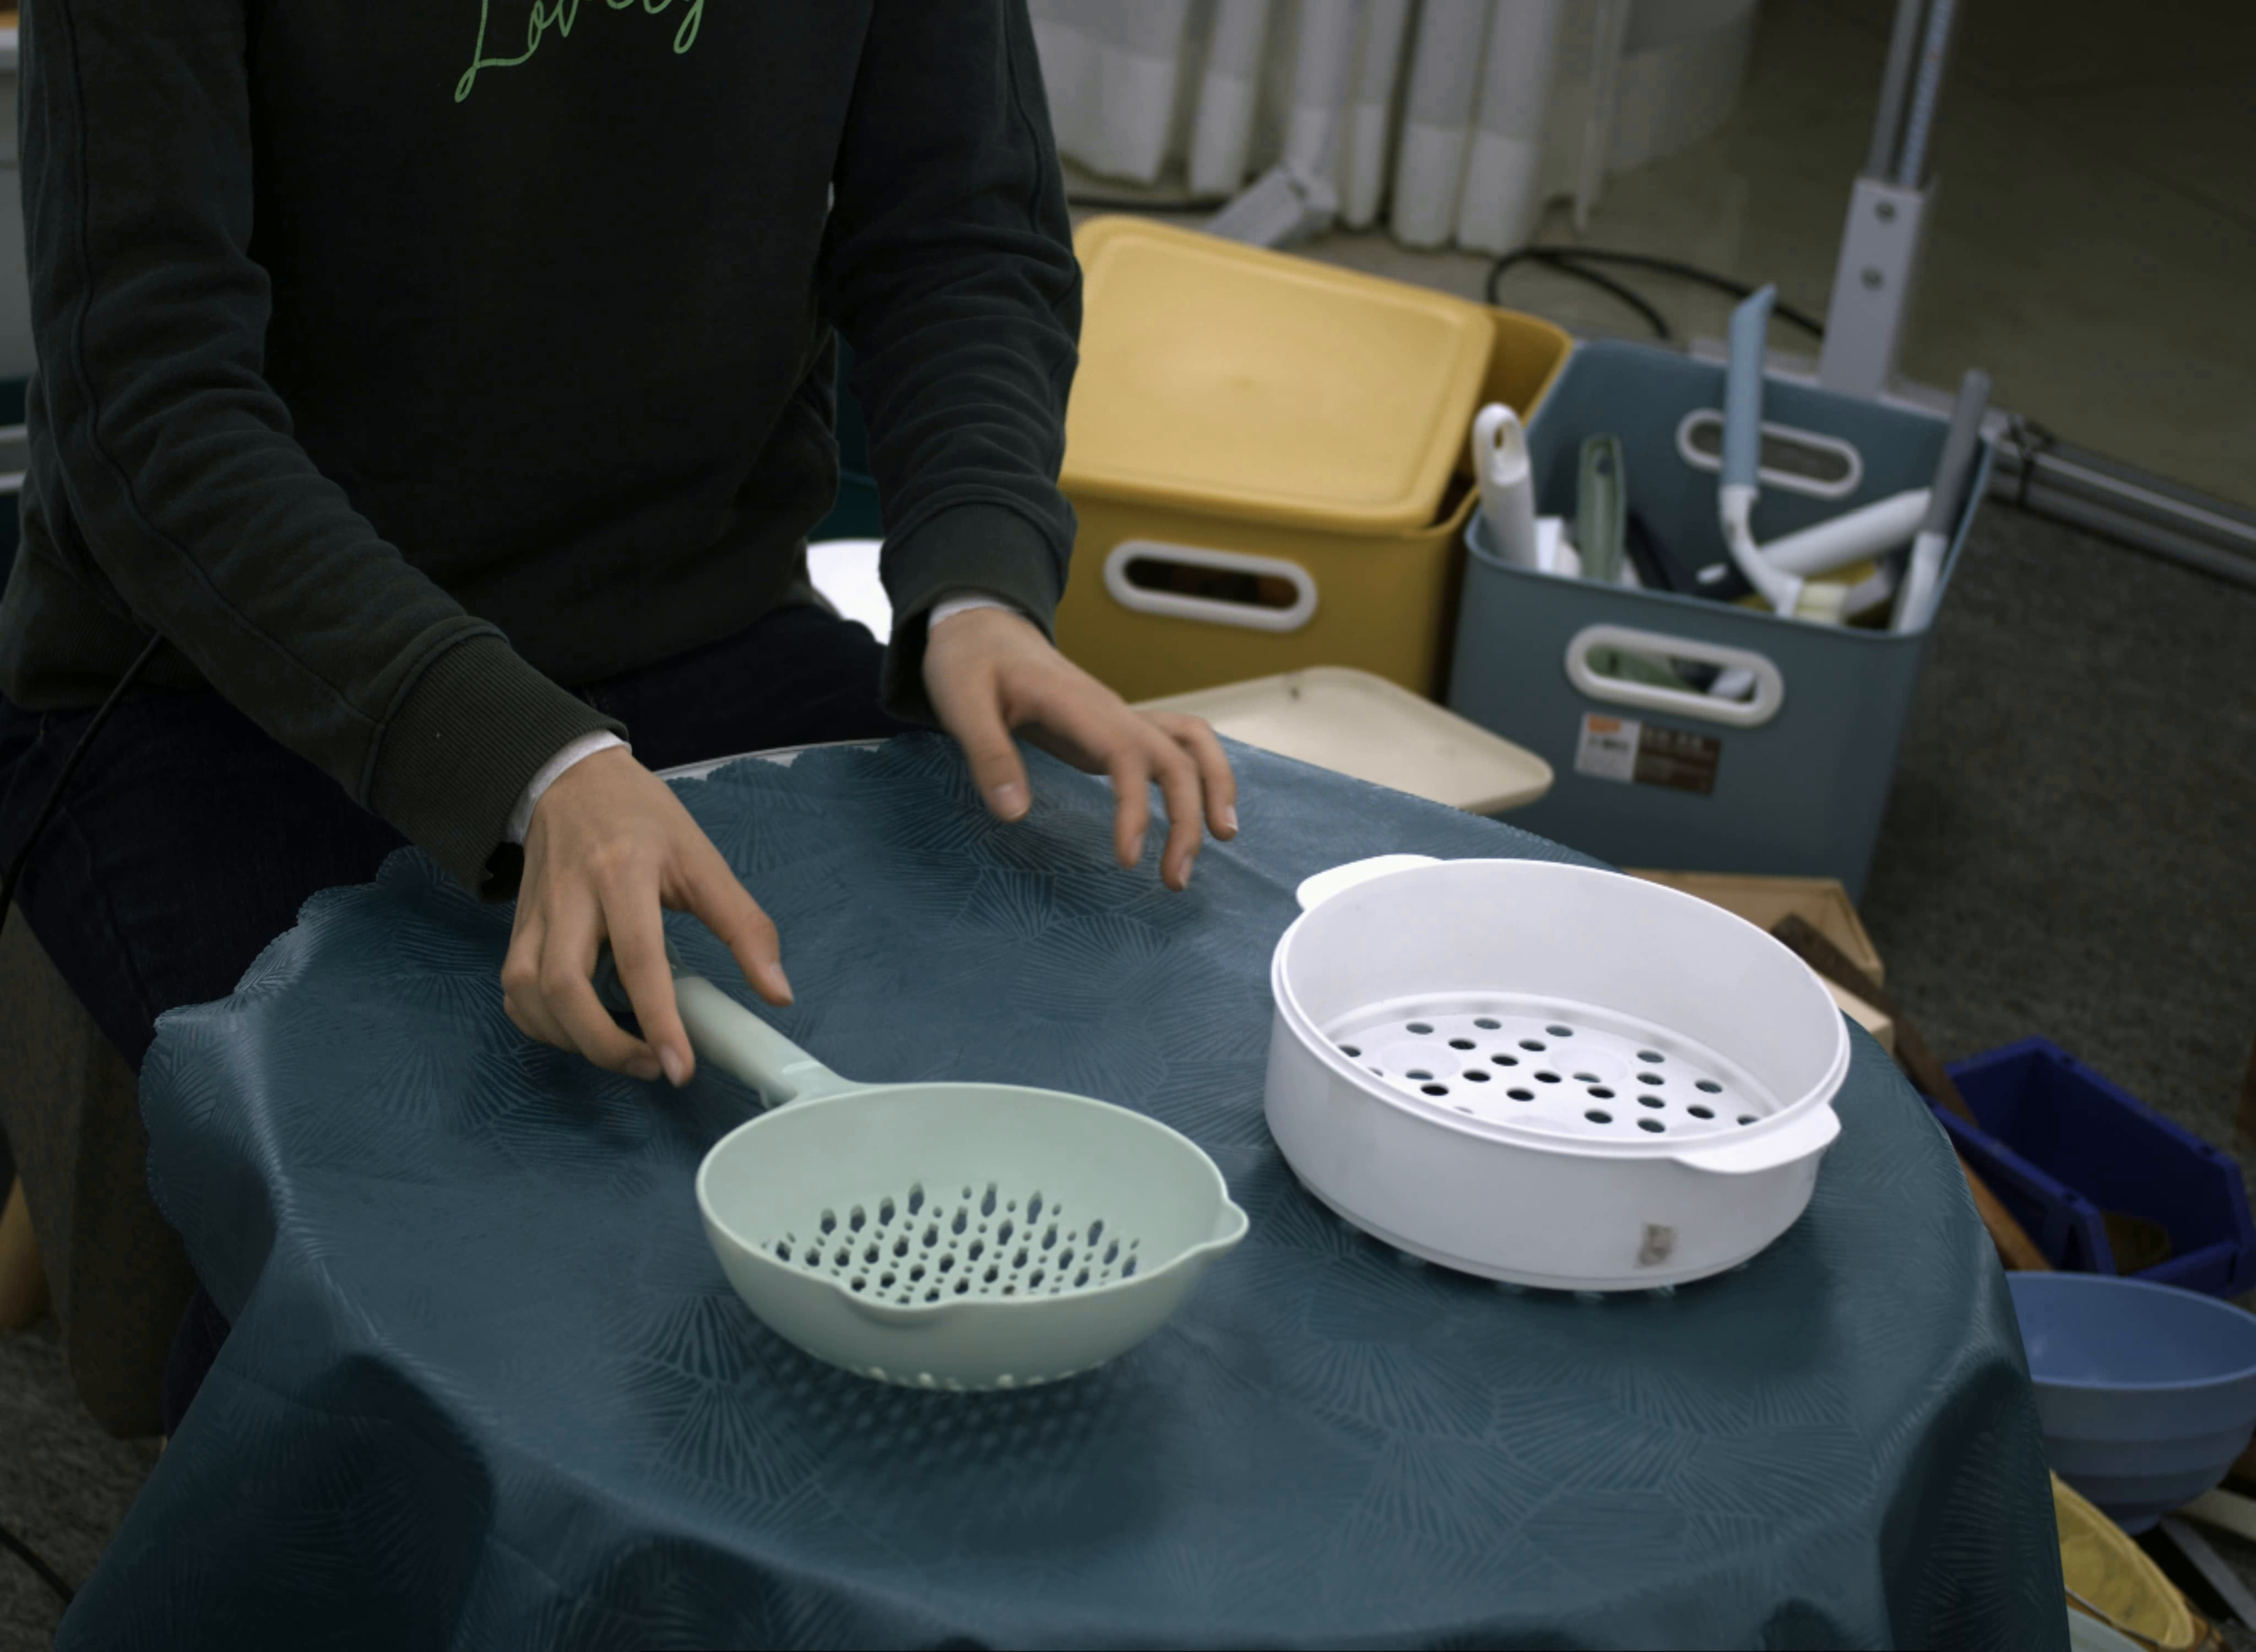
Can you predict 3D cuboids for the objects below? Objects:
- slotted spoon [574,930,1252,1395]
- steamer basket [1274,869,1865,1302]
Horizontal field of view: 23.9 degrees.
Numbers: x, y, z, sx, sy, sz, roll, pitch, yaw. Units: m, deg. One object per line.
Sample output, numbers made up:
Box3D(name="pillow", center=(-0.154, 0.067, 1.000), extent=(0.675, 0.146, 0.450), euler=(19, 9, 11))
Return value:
Box3D(name="slotted spoon", center=(-0.102, 0.095, 1.762), extent=(0.168, 0.075, 0.362), euler=(-9, 30, -29))
Box3D(name="steamer basket", center=(0.149, 0.090, 1.829), extent=(0.201, 0.069, 0.232), euler=(-14, 33, -37))
